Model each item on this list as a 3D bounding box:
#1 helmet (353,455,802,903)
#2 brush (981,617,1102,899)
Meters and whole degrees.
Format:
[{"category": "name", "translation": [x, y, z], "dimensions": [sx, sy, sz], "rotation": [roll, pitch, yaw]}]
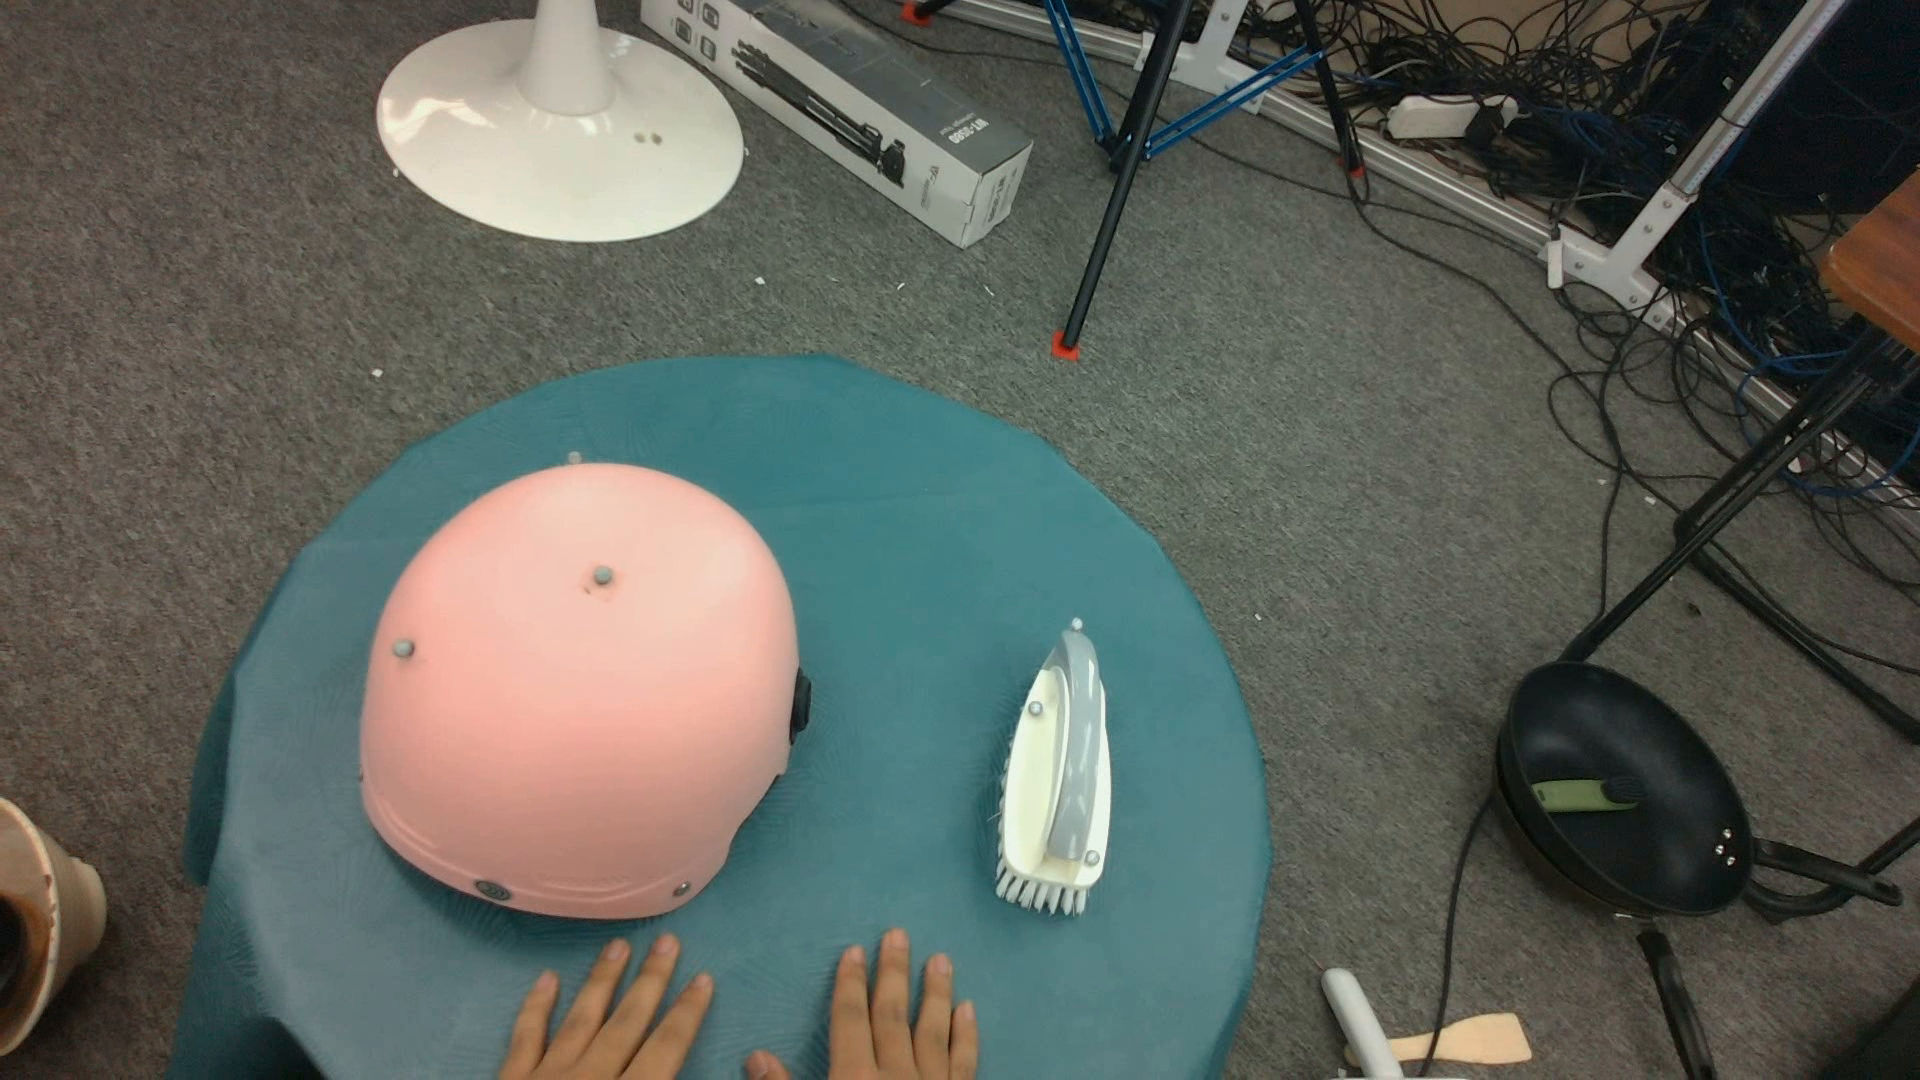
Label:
[{"category": "helmet", "translation": [-0.194, 0.045, 0.728], "dimensions": [0.234, 0.158, 0.267], "rotation": [18, 46, -2]}, {"category": "brush", "translation": [0.054, 0.108, 0.796], "dimensions": [0.061, 0.093, 0.176], "rotation": [15, 48, -8]}]
